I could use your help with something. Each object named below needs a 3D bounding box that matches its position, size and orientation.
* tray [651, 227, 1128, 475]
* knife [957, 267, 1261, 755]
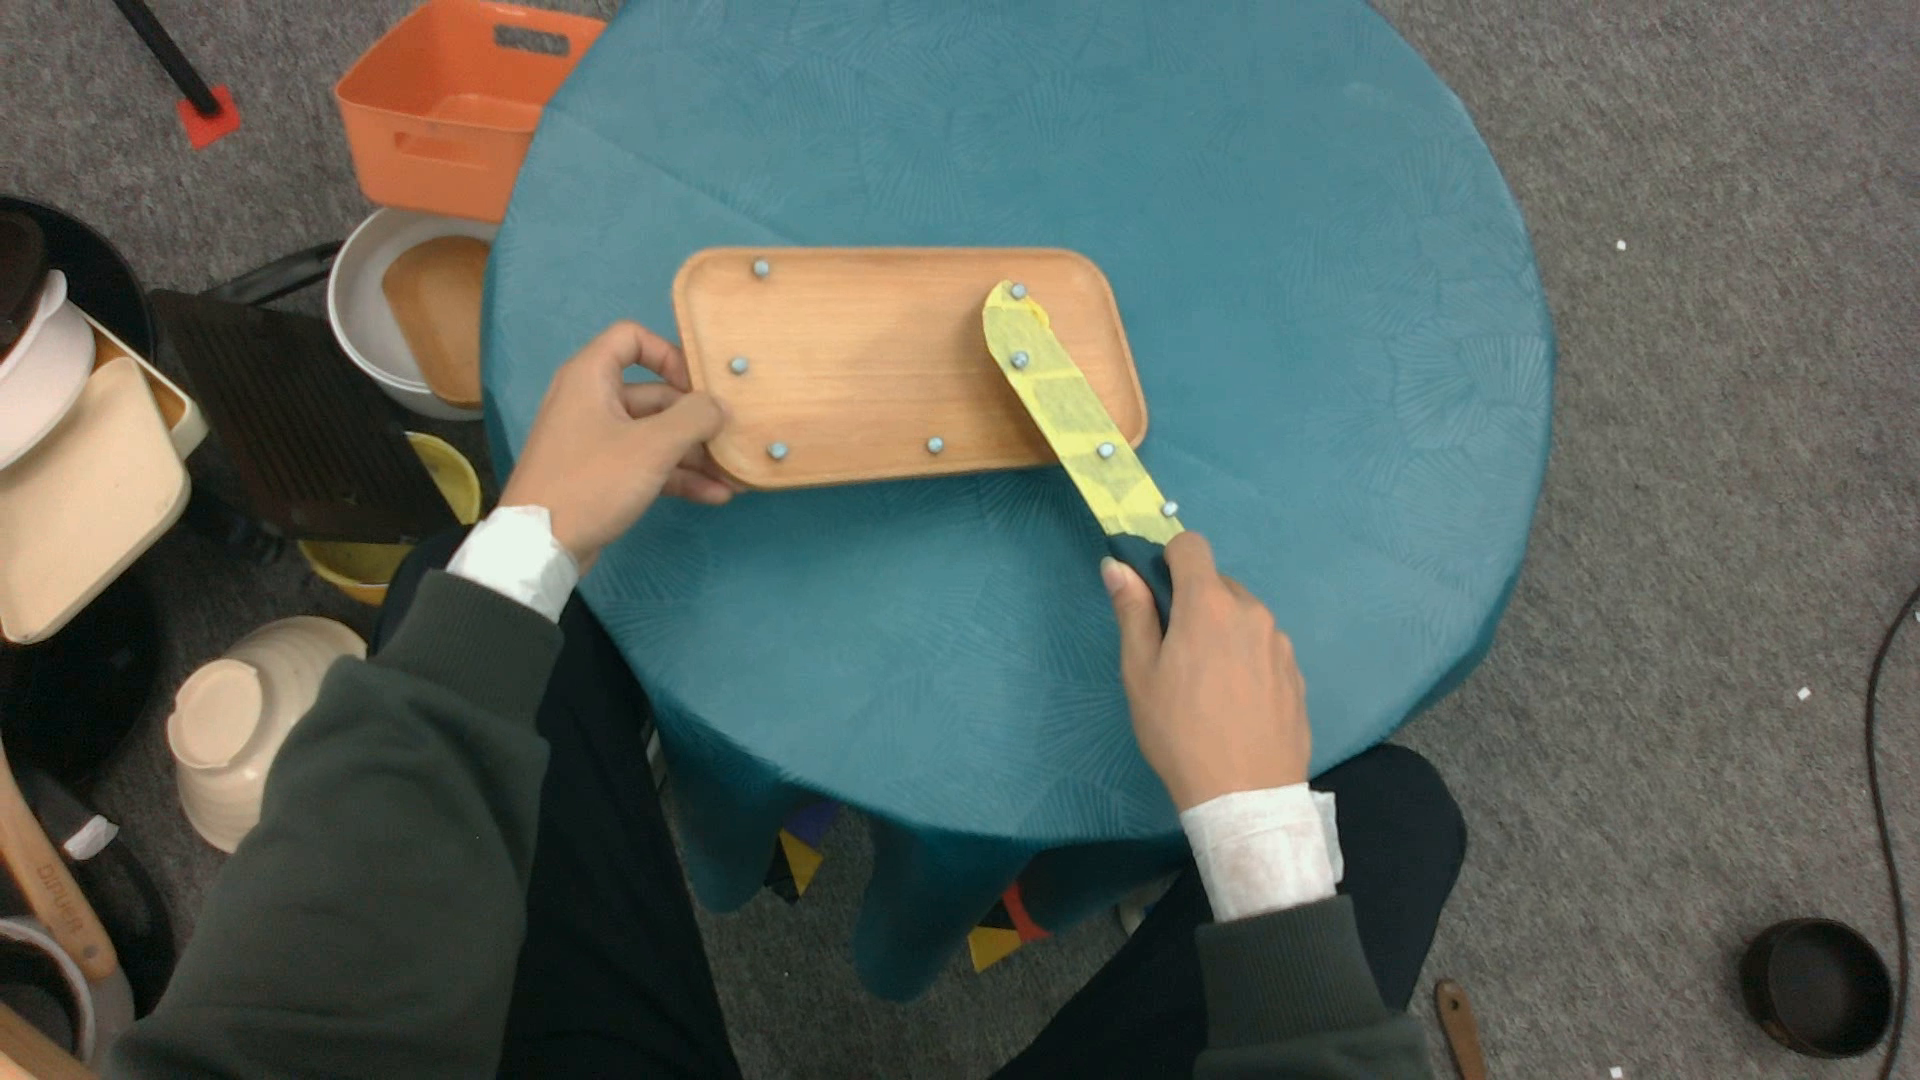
[{"bbox_3d":[-0.030,-0.102,0.711,0.251,0.023,0.131,-7,75,-29],"label":"tray"},{"bbox_3d":[0.075,-0.023,0.702,0.081,0.027,0.290,-12,69,-52],"label":"knife"}]
